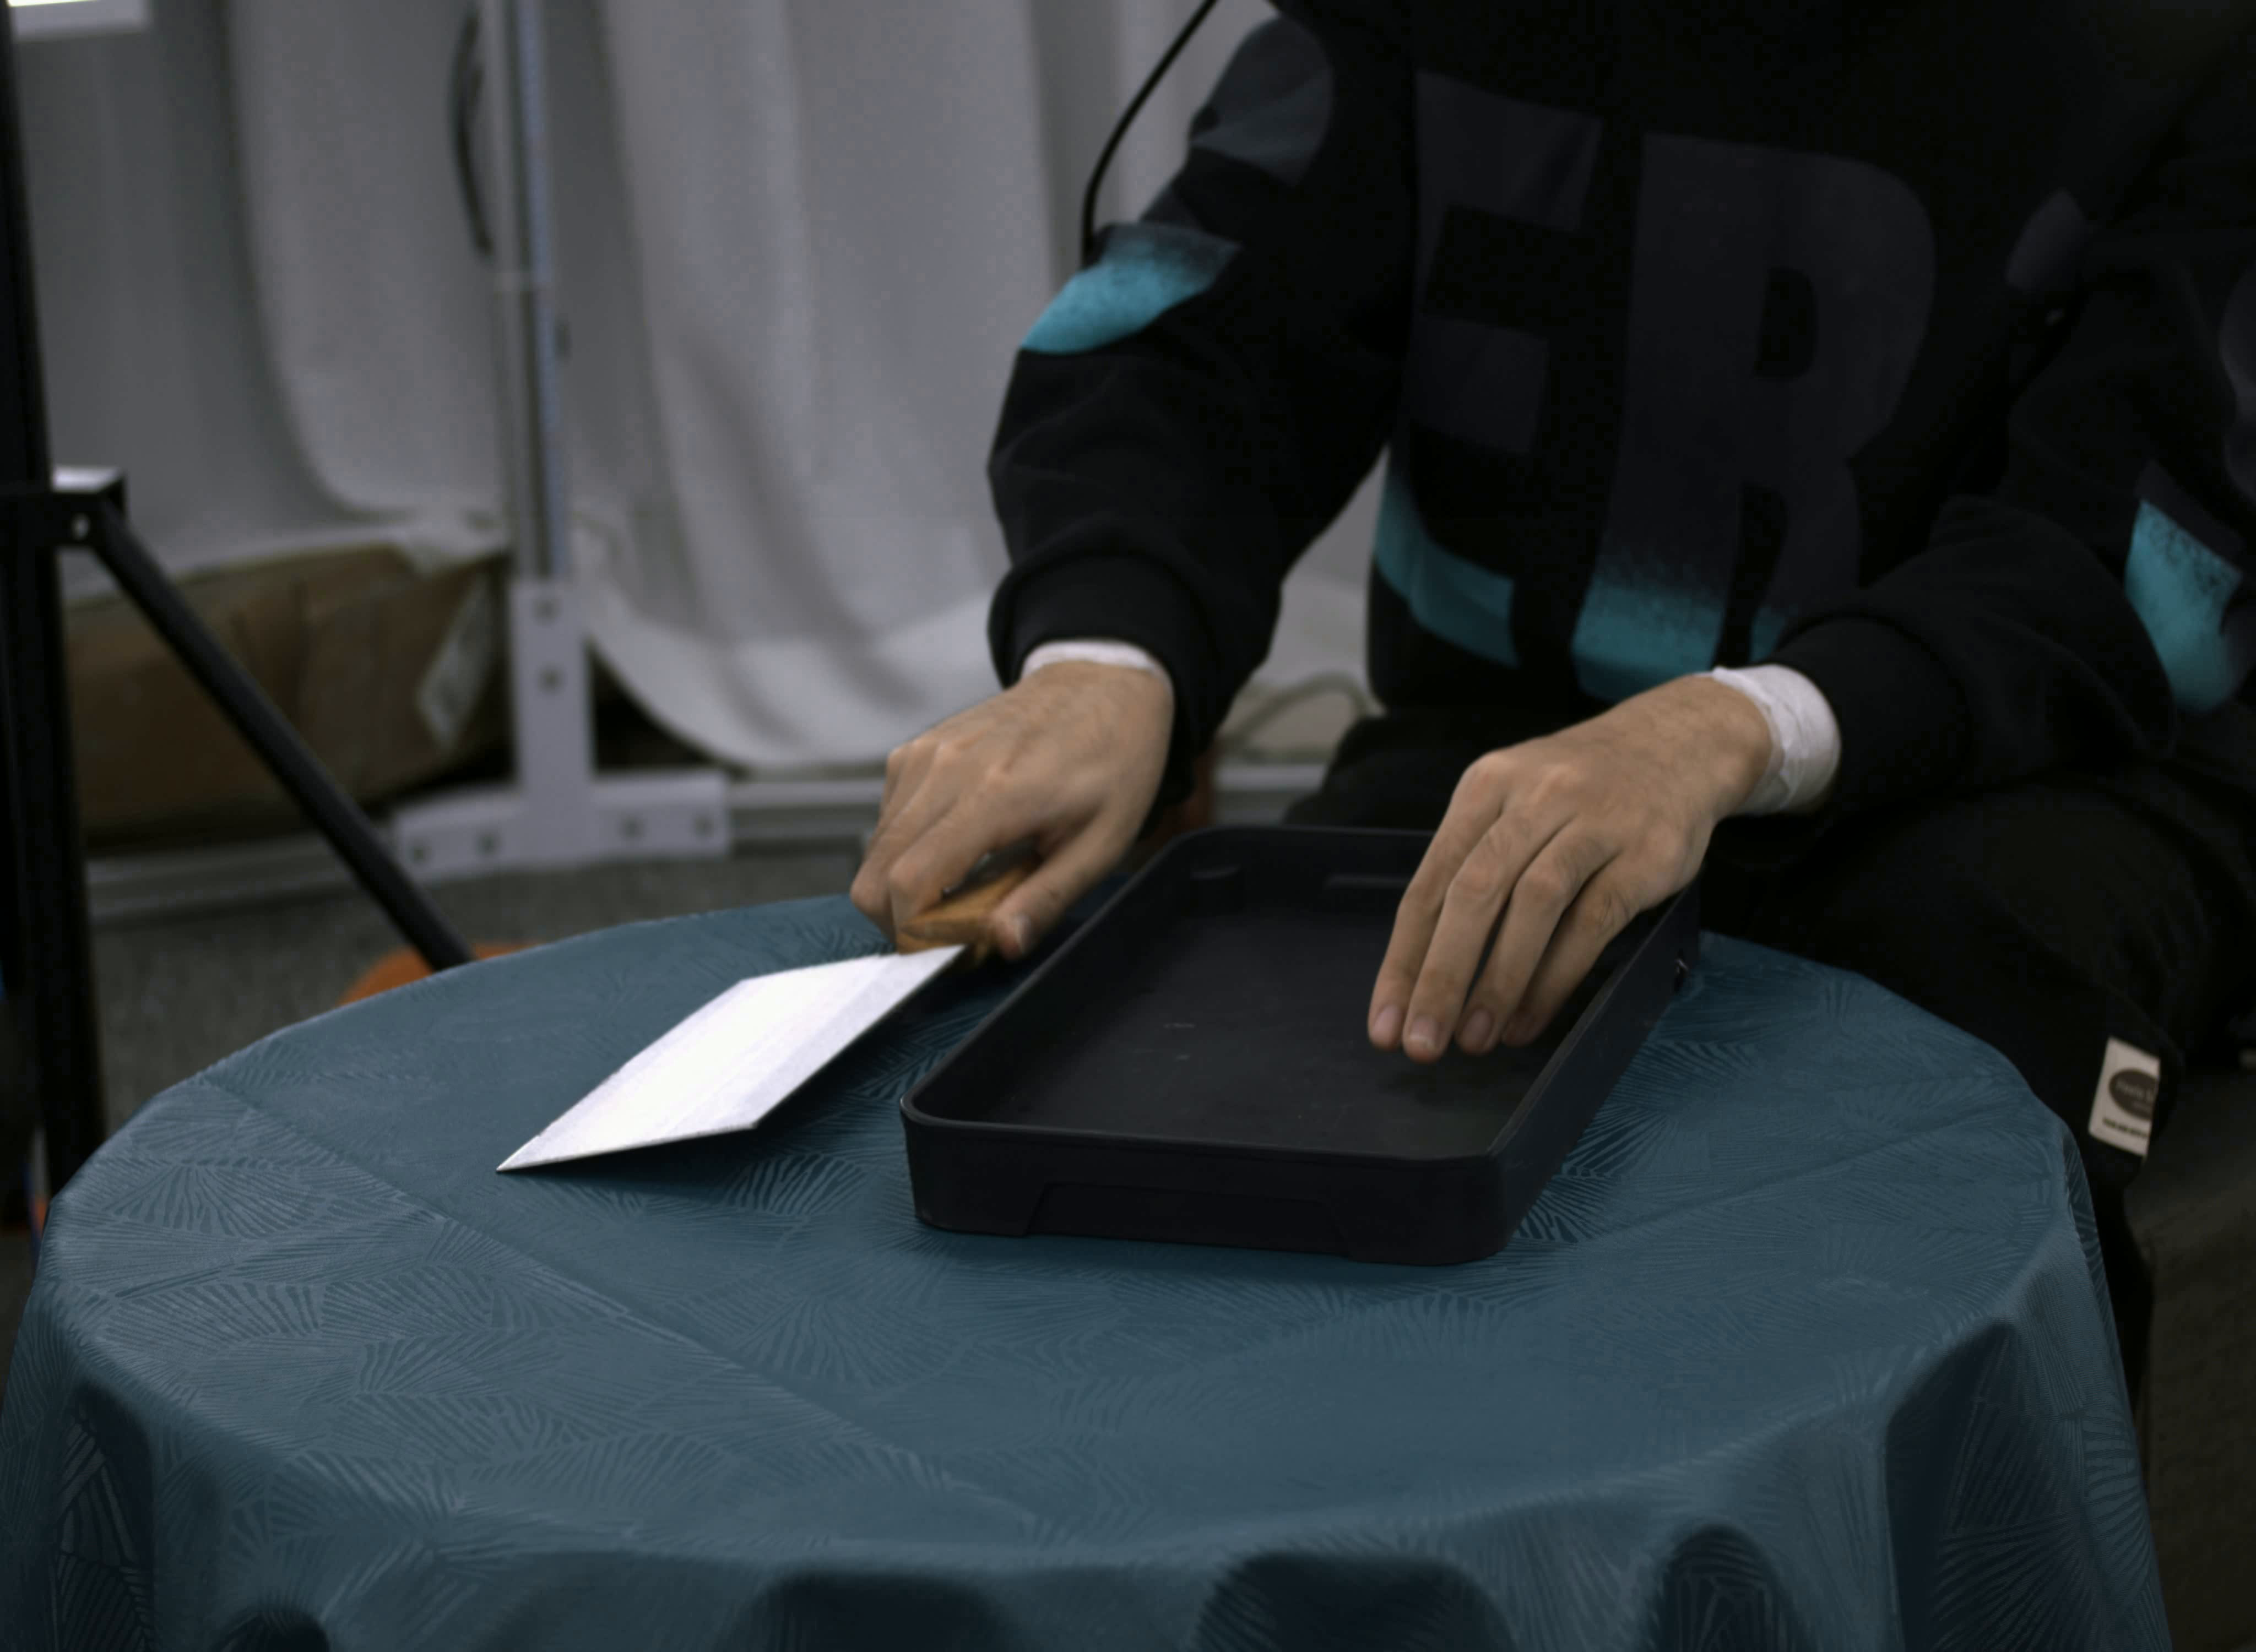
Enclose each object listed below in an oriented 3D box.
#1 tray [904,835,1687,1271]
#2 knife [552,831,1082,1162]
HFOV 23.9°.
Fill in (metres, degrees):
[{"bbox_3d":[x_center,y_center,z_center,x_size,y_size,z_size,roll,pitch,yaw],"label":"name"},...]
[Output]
[{"bbox_3d":[0.060,0.064,1.638,0.186,0.037,0.315,2,16,16],"label":"tray"},{"bbox_3d":[-0.099,0.055,1.720,0.094,0.021,0.302,-11,12,23],"label":"knife"}]
